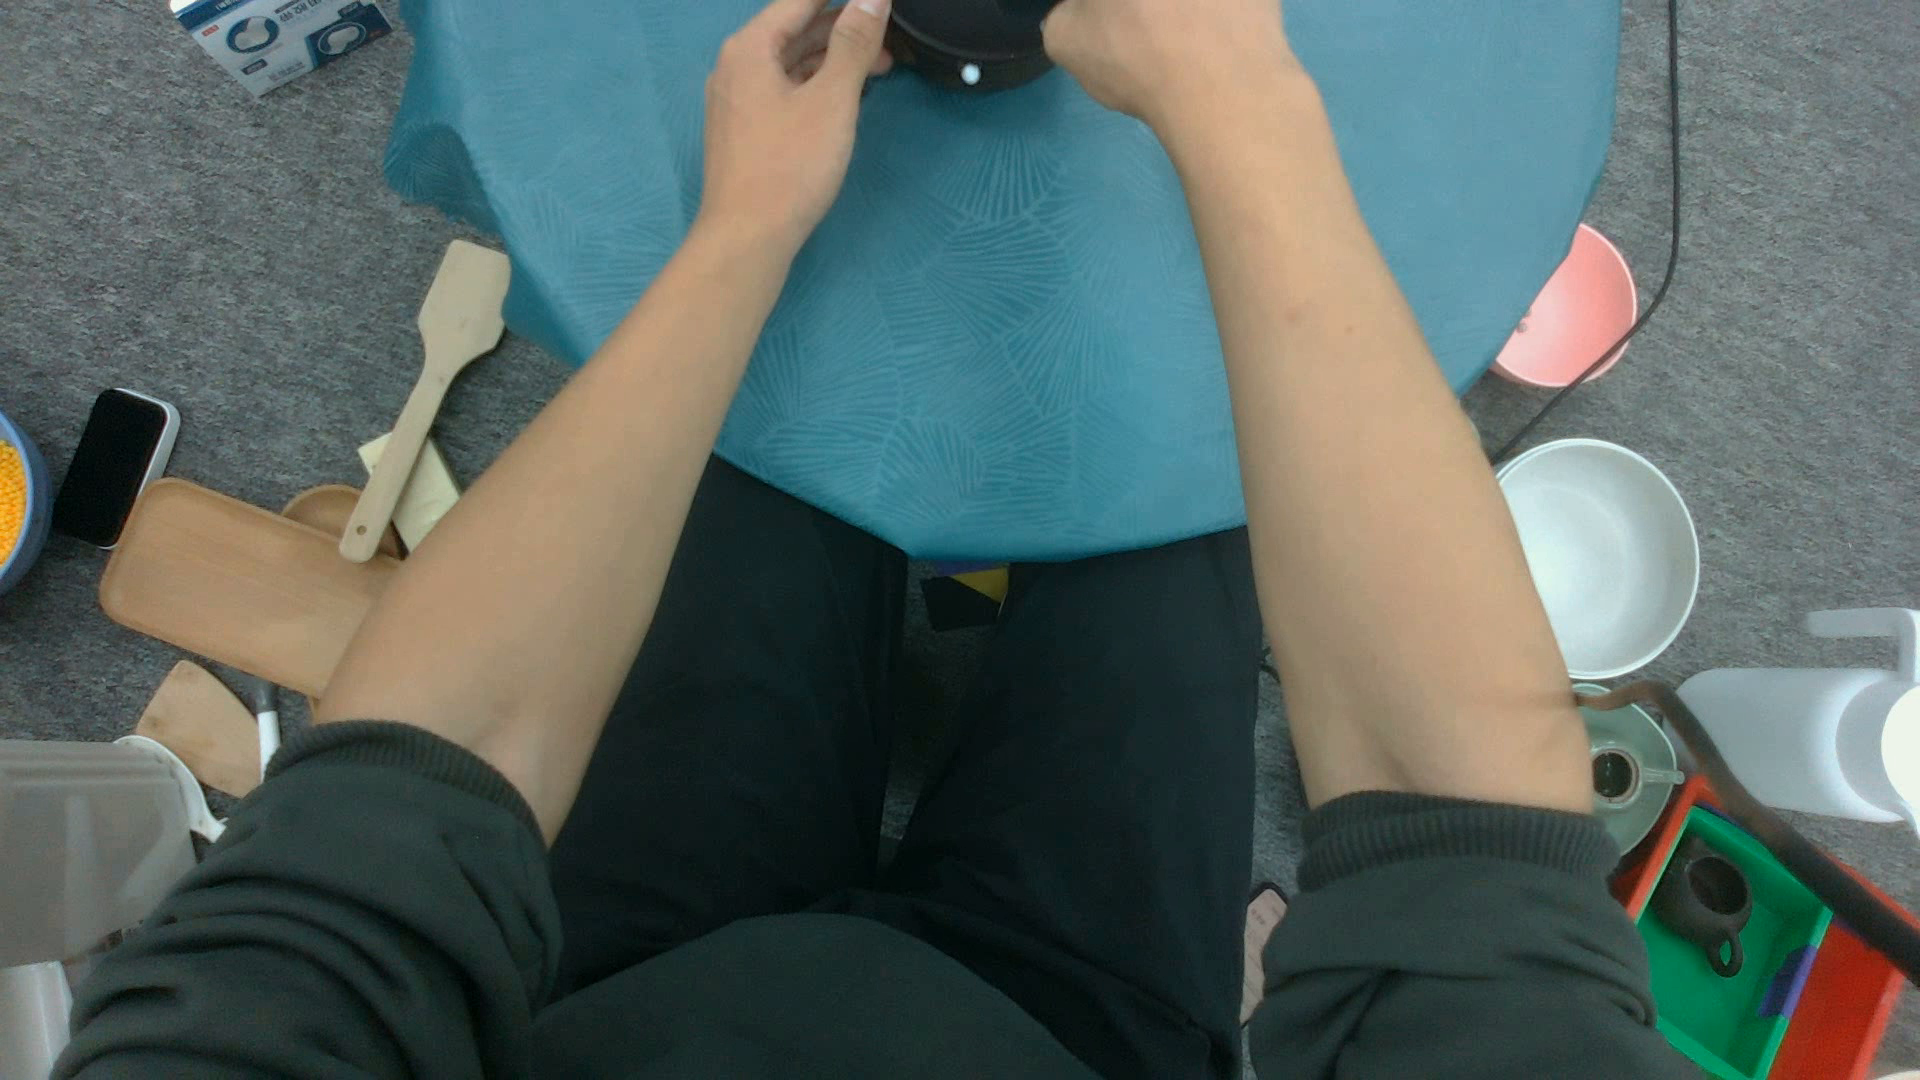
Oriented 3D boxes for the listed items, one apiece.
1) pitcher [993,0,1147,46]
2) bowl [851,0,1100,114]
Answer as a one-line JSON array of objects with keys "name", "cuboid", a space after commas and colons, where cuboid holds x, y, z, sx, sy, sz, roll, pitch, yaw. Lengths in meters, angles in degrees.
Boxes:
[{"name": "pitcher", "cuboid": [0.051, -0.258, 0.590, 0.071, 0.096, 0.083, 0, 96, 23]}, {"name": "bowl", "cuboid": [0.006, -0.260, 0.663, 0.118, 0.070, 0.118, 1, 82, -6]}]
